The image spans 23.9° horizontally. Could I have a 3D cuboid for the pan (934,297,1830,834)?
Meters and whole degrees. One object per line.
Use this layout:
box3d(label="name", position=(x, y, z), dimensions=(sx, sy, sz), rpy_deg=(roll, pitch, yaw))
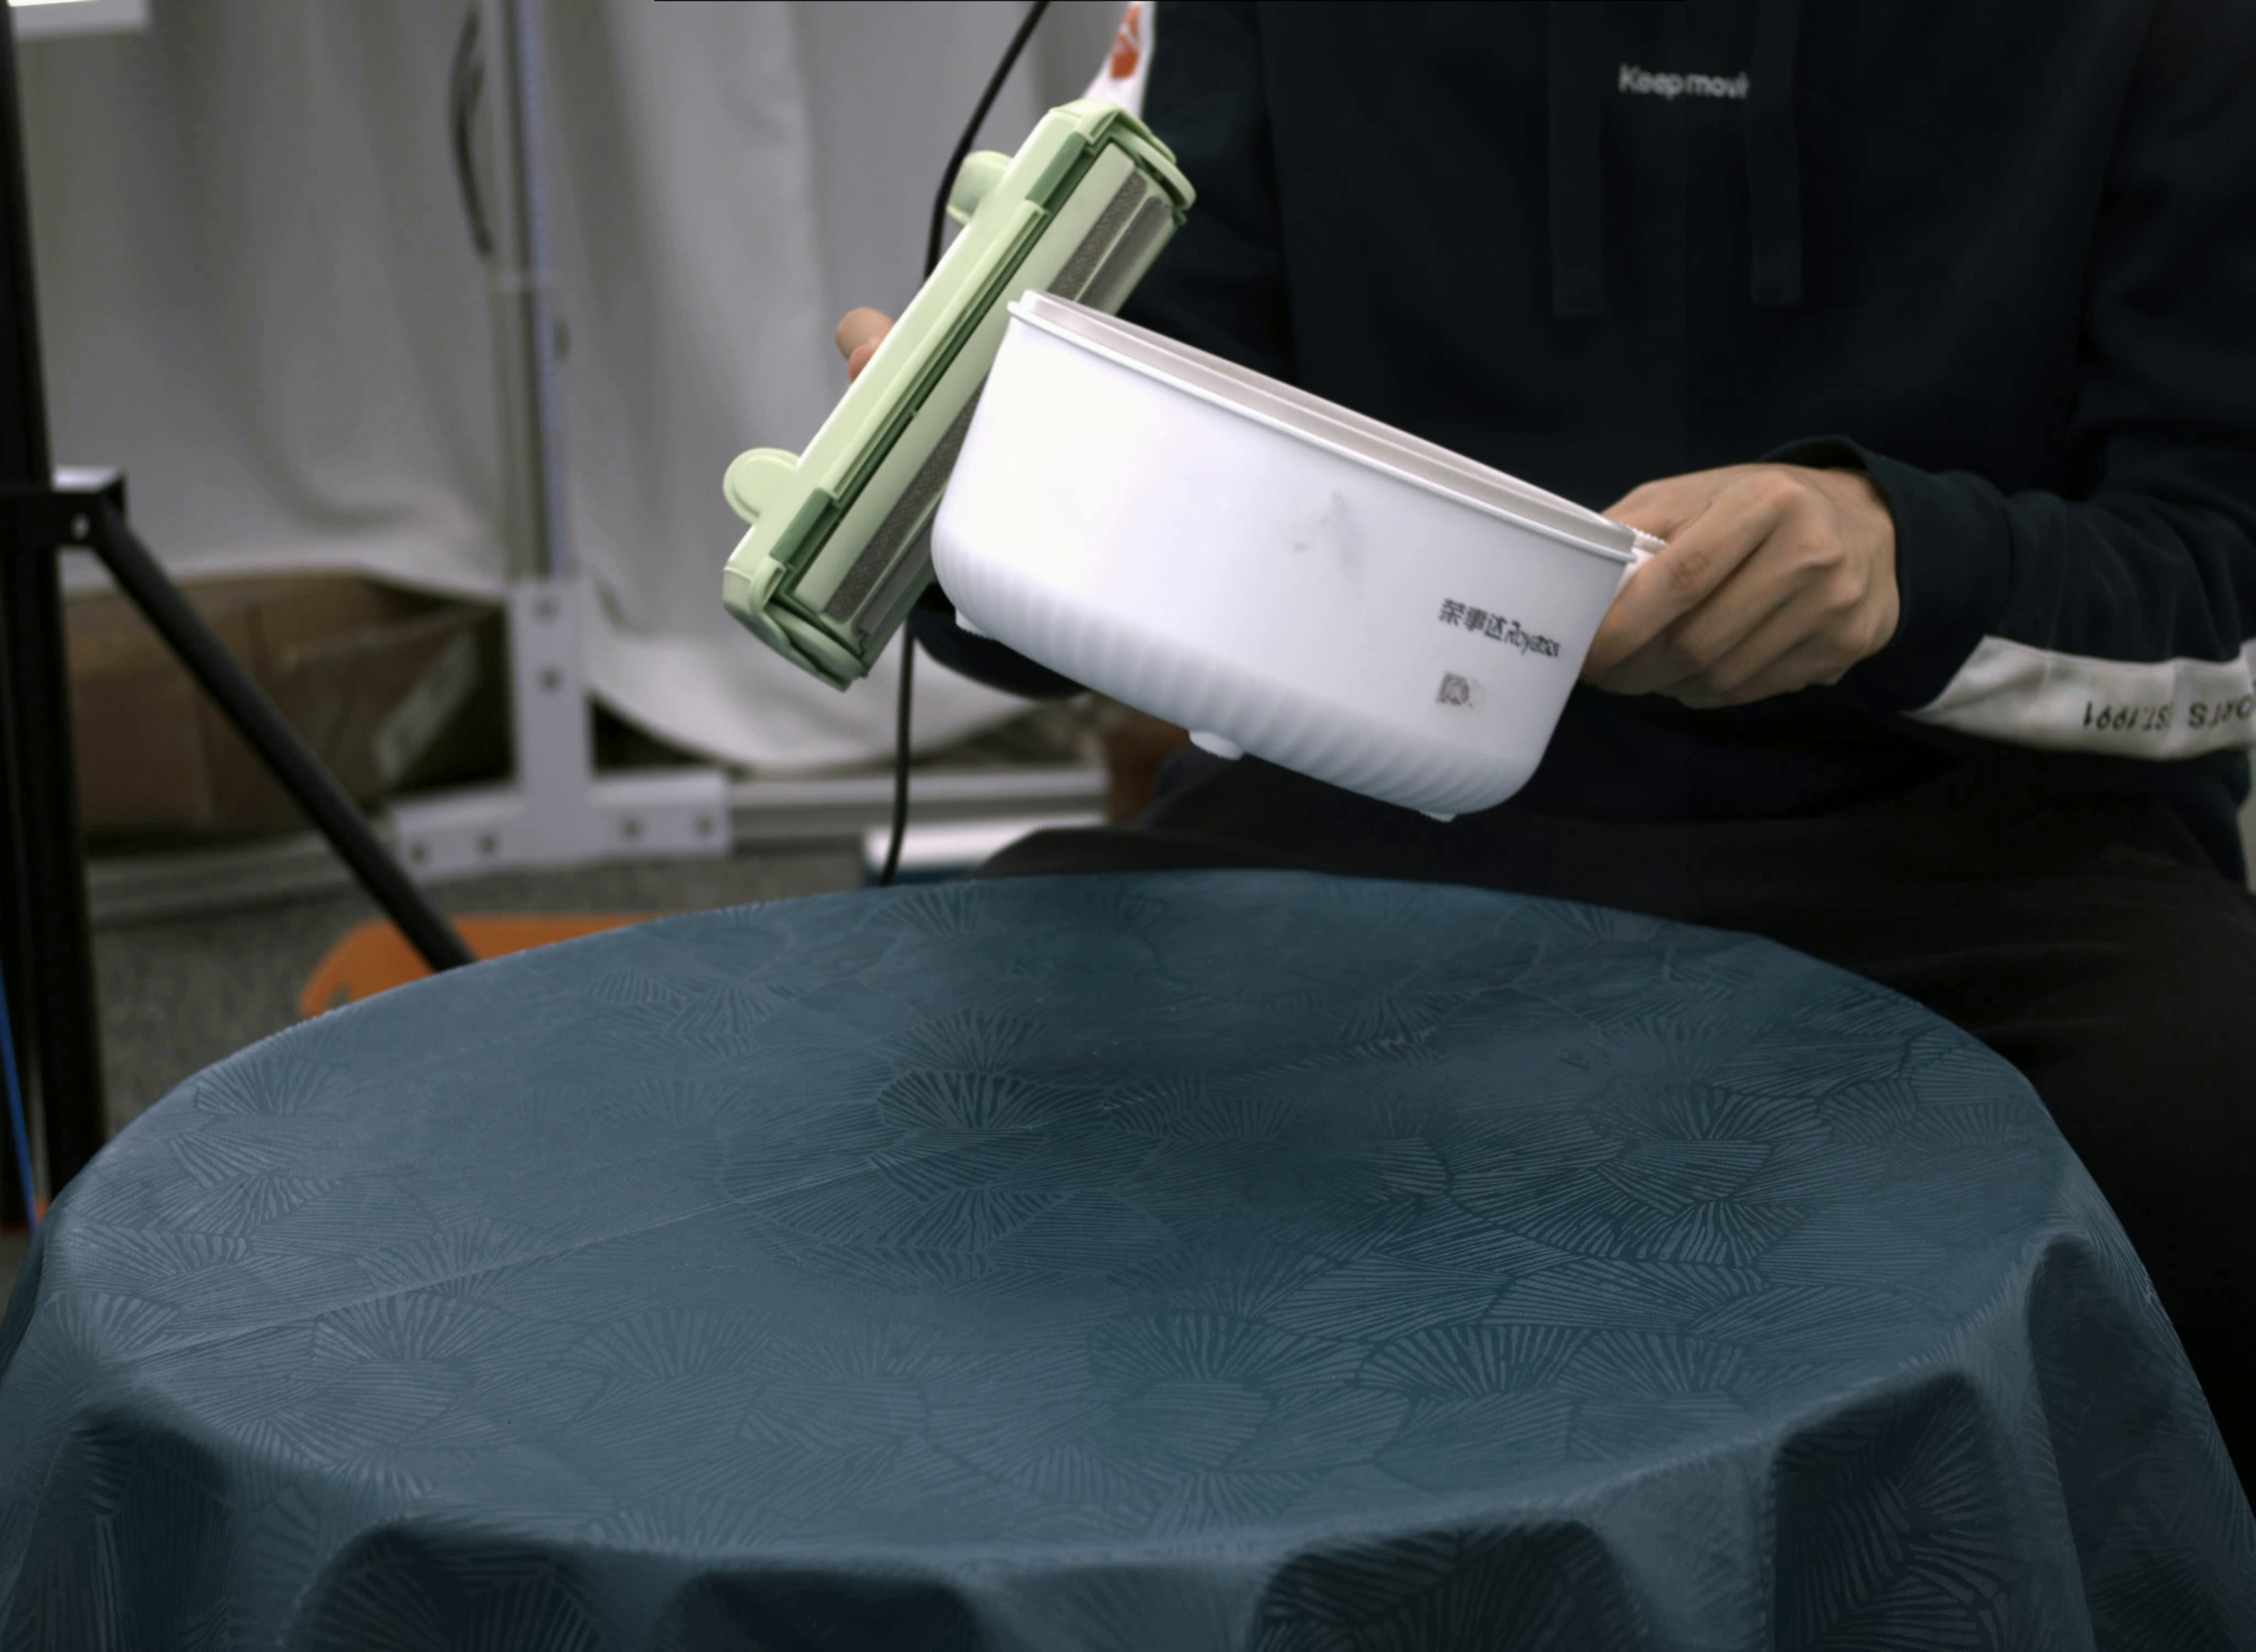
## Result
box3d(label="pan", position=(0.090, -0.058, 1.628), dimensions=(0.206, 0.102, 0.345), rpy_deg=(26, 7, 42))

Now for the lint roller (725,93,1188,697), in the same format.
box3d(label="lint roller", position=(-0.059, -0.130, 1.708), dimensions=(0.082, 0.198, 0.183), rpy_deg=(33, -7, 4))
